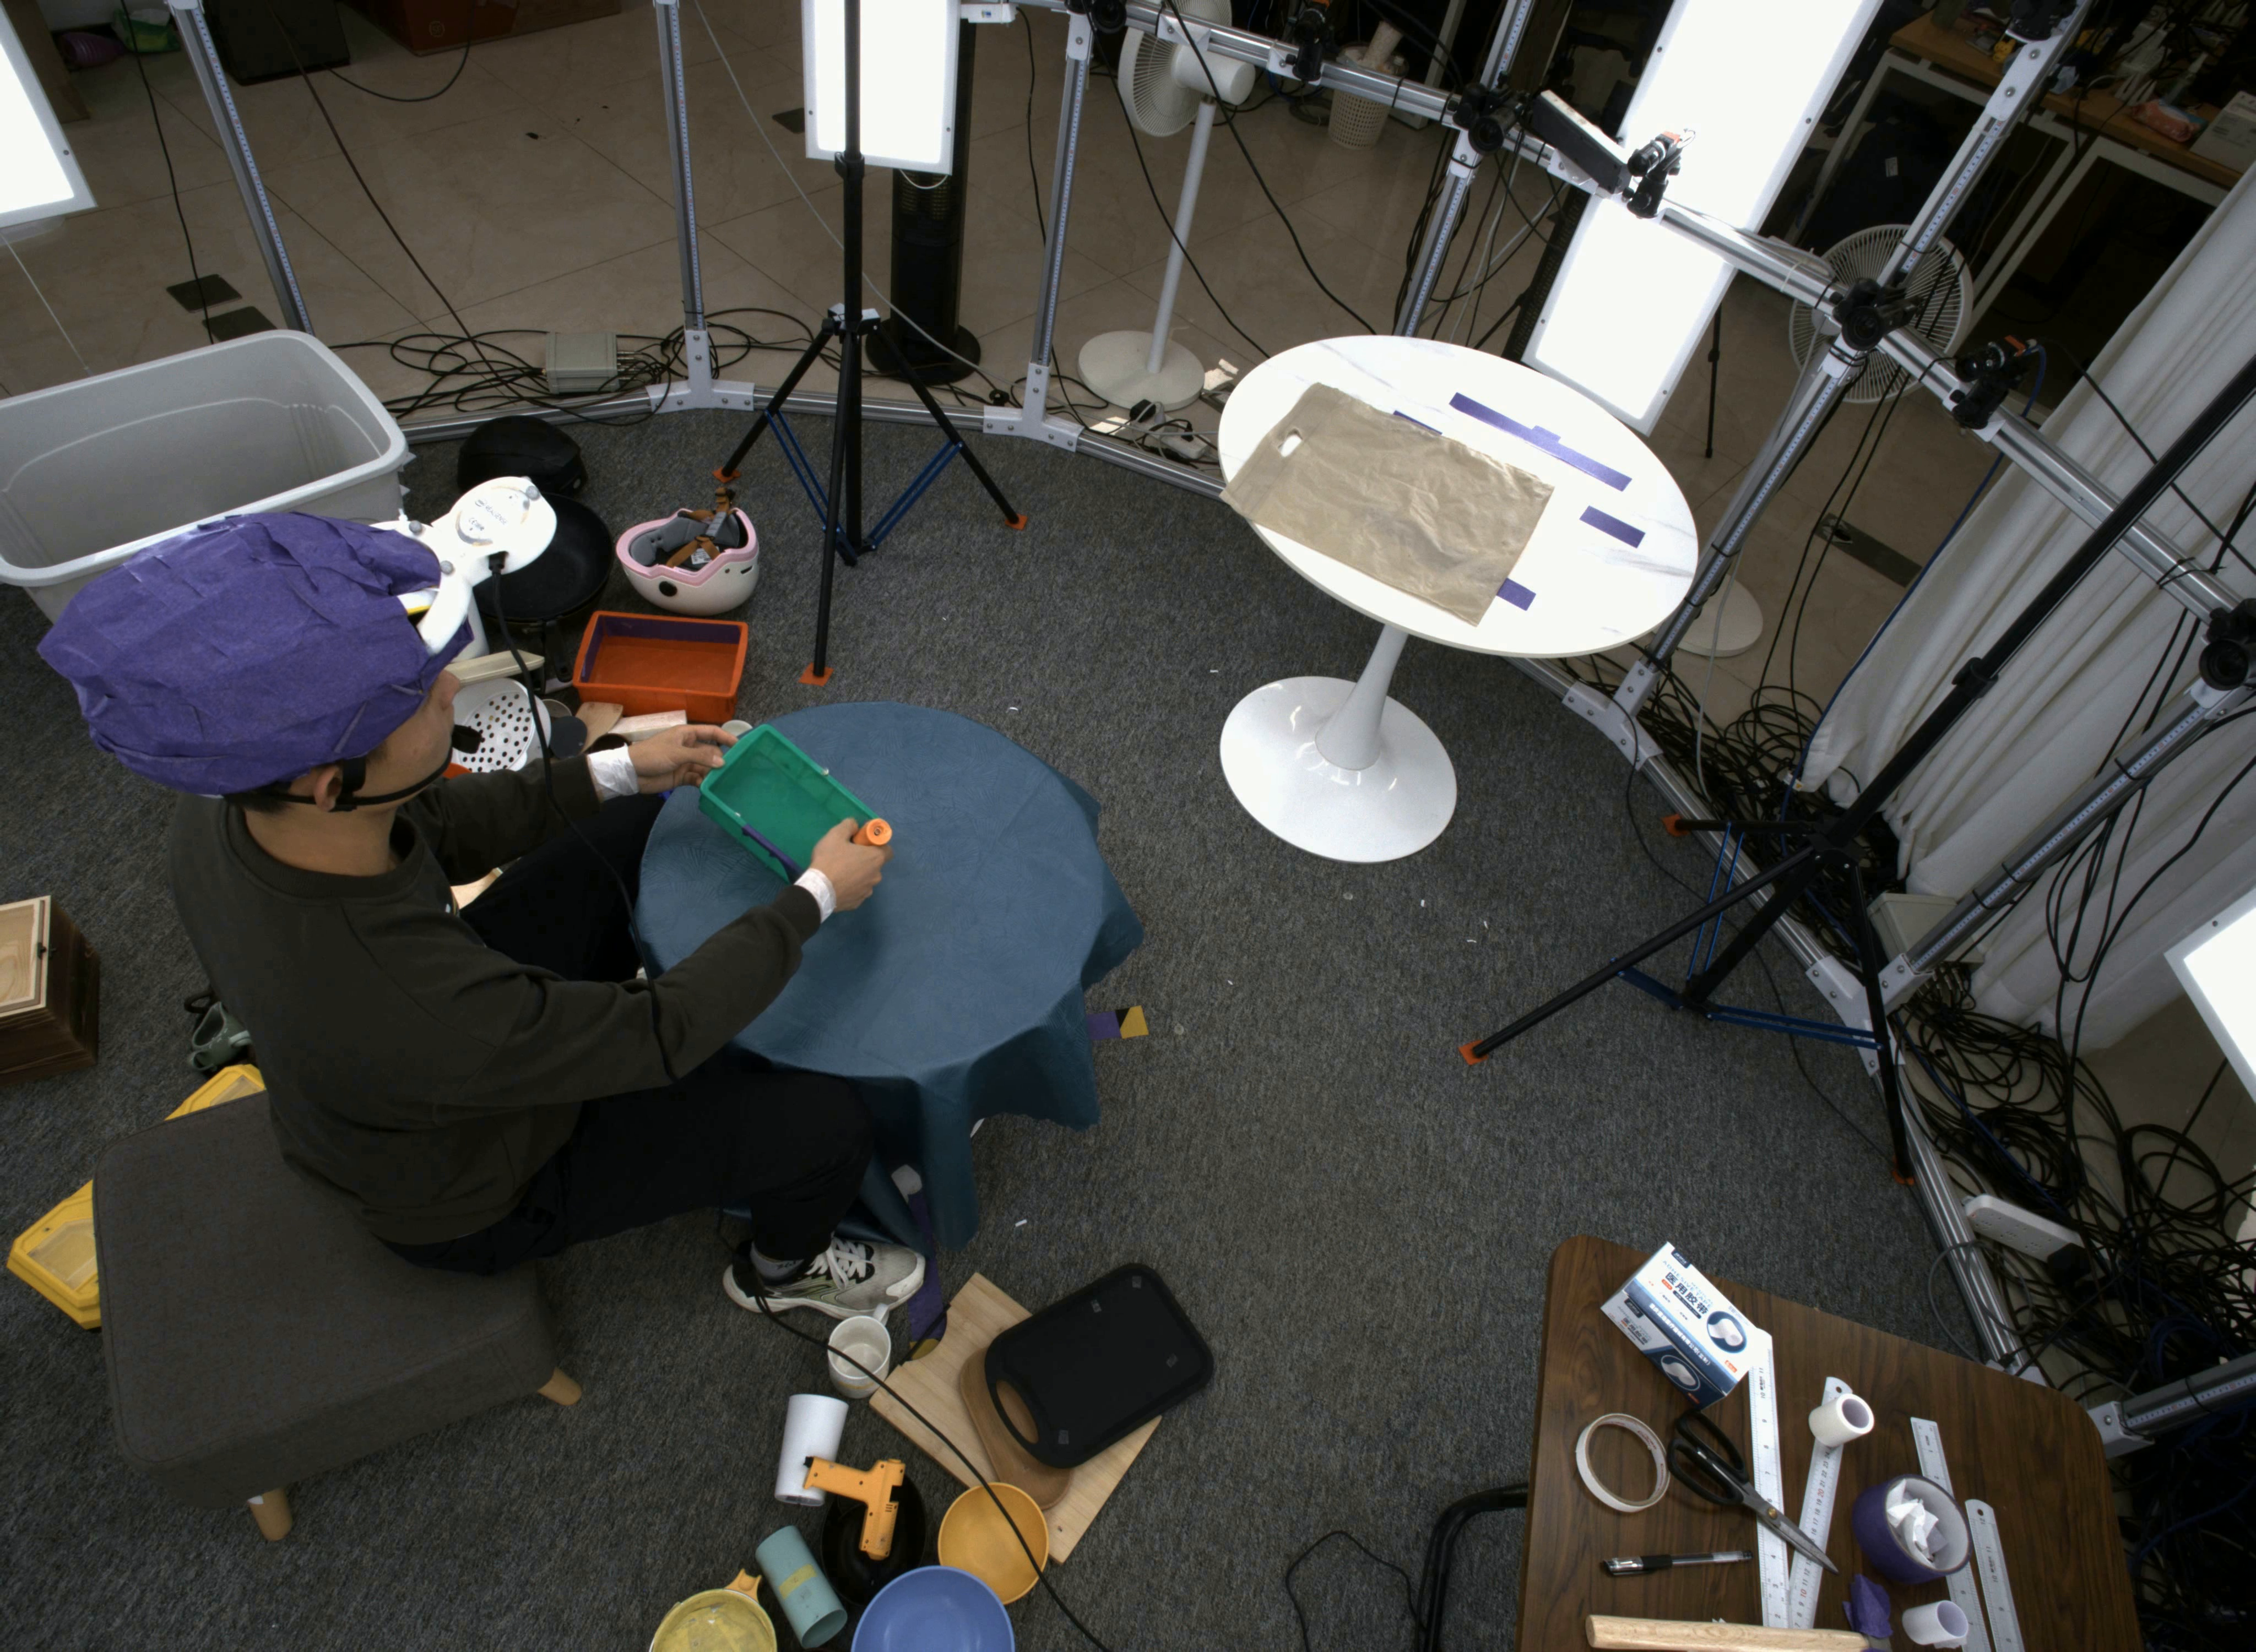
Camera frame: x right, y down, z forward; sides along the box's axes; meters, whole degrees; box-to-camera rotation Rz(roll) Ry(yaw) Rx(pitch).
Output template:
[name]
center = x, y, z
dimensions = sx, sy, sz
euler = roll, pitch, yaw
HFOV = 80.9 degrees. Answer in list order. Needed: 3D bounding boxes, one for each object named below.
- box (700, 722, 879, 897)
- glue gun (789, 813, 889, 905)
[box]
center = -0.432, -0.016, 1.651
dimensions = 0.213, 0.065, 0.138
euler = 41, 53, -12
[glue gun]
center = -0.345, 0.033, 1.583
dimensions = 0.041, 0.117, 0.140
euler = 50, 57, -4
